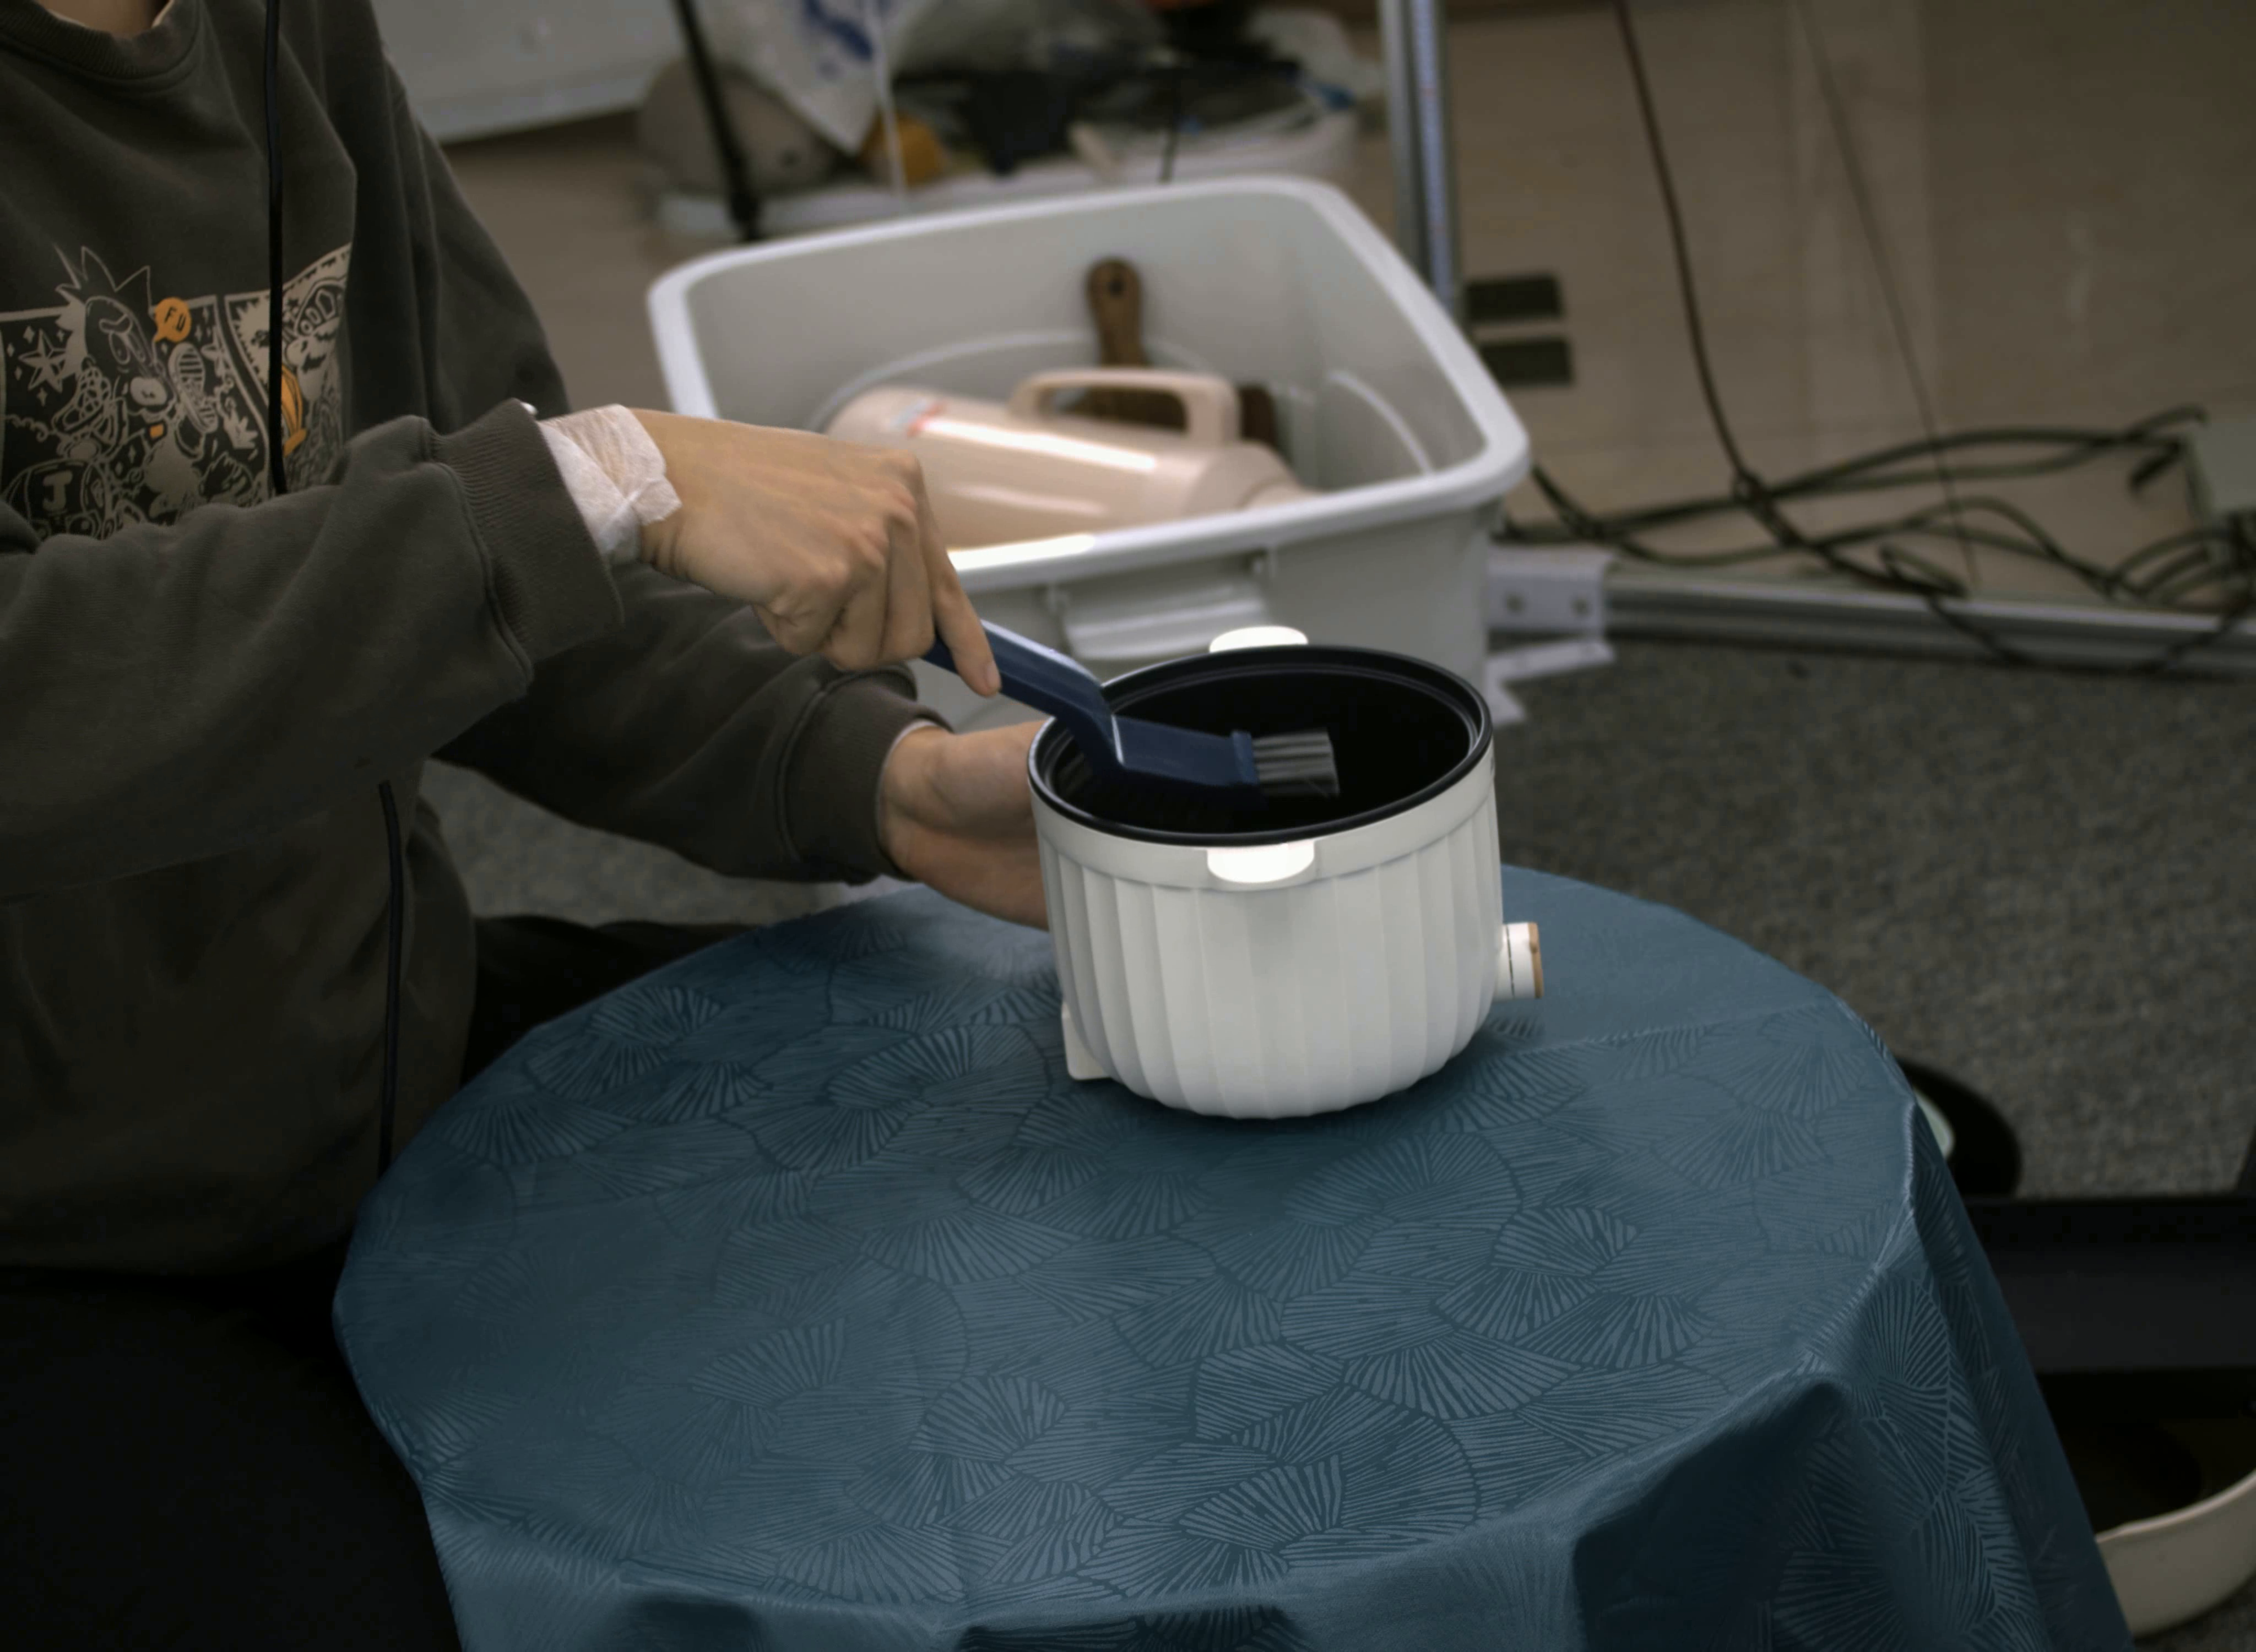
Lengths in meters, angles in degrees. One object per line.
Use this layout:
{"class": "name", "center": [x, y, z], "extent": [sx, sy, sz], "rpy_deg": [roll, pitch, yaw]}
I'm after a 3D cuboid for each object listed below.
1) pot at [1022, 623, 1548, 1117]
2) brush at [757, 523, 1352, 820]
{"class": "pot", "center": [0.063, 0.023, 2.210], "extent": [0.190, 0.145, 0.237], "rpy_deg": [-9, 27, 5]}
{"class": "brush", "center": [-0.029, -0.056, 2.129], "extent": [0.096, 0.276, 0.033], "rpy_deg": [-24, 55, 29]}
